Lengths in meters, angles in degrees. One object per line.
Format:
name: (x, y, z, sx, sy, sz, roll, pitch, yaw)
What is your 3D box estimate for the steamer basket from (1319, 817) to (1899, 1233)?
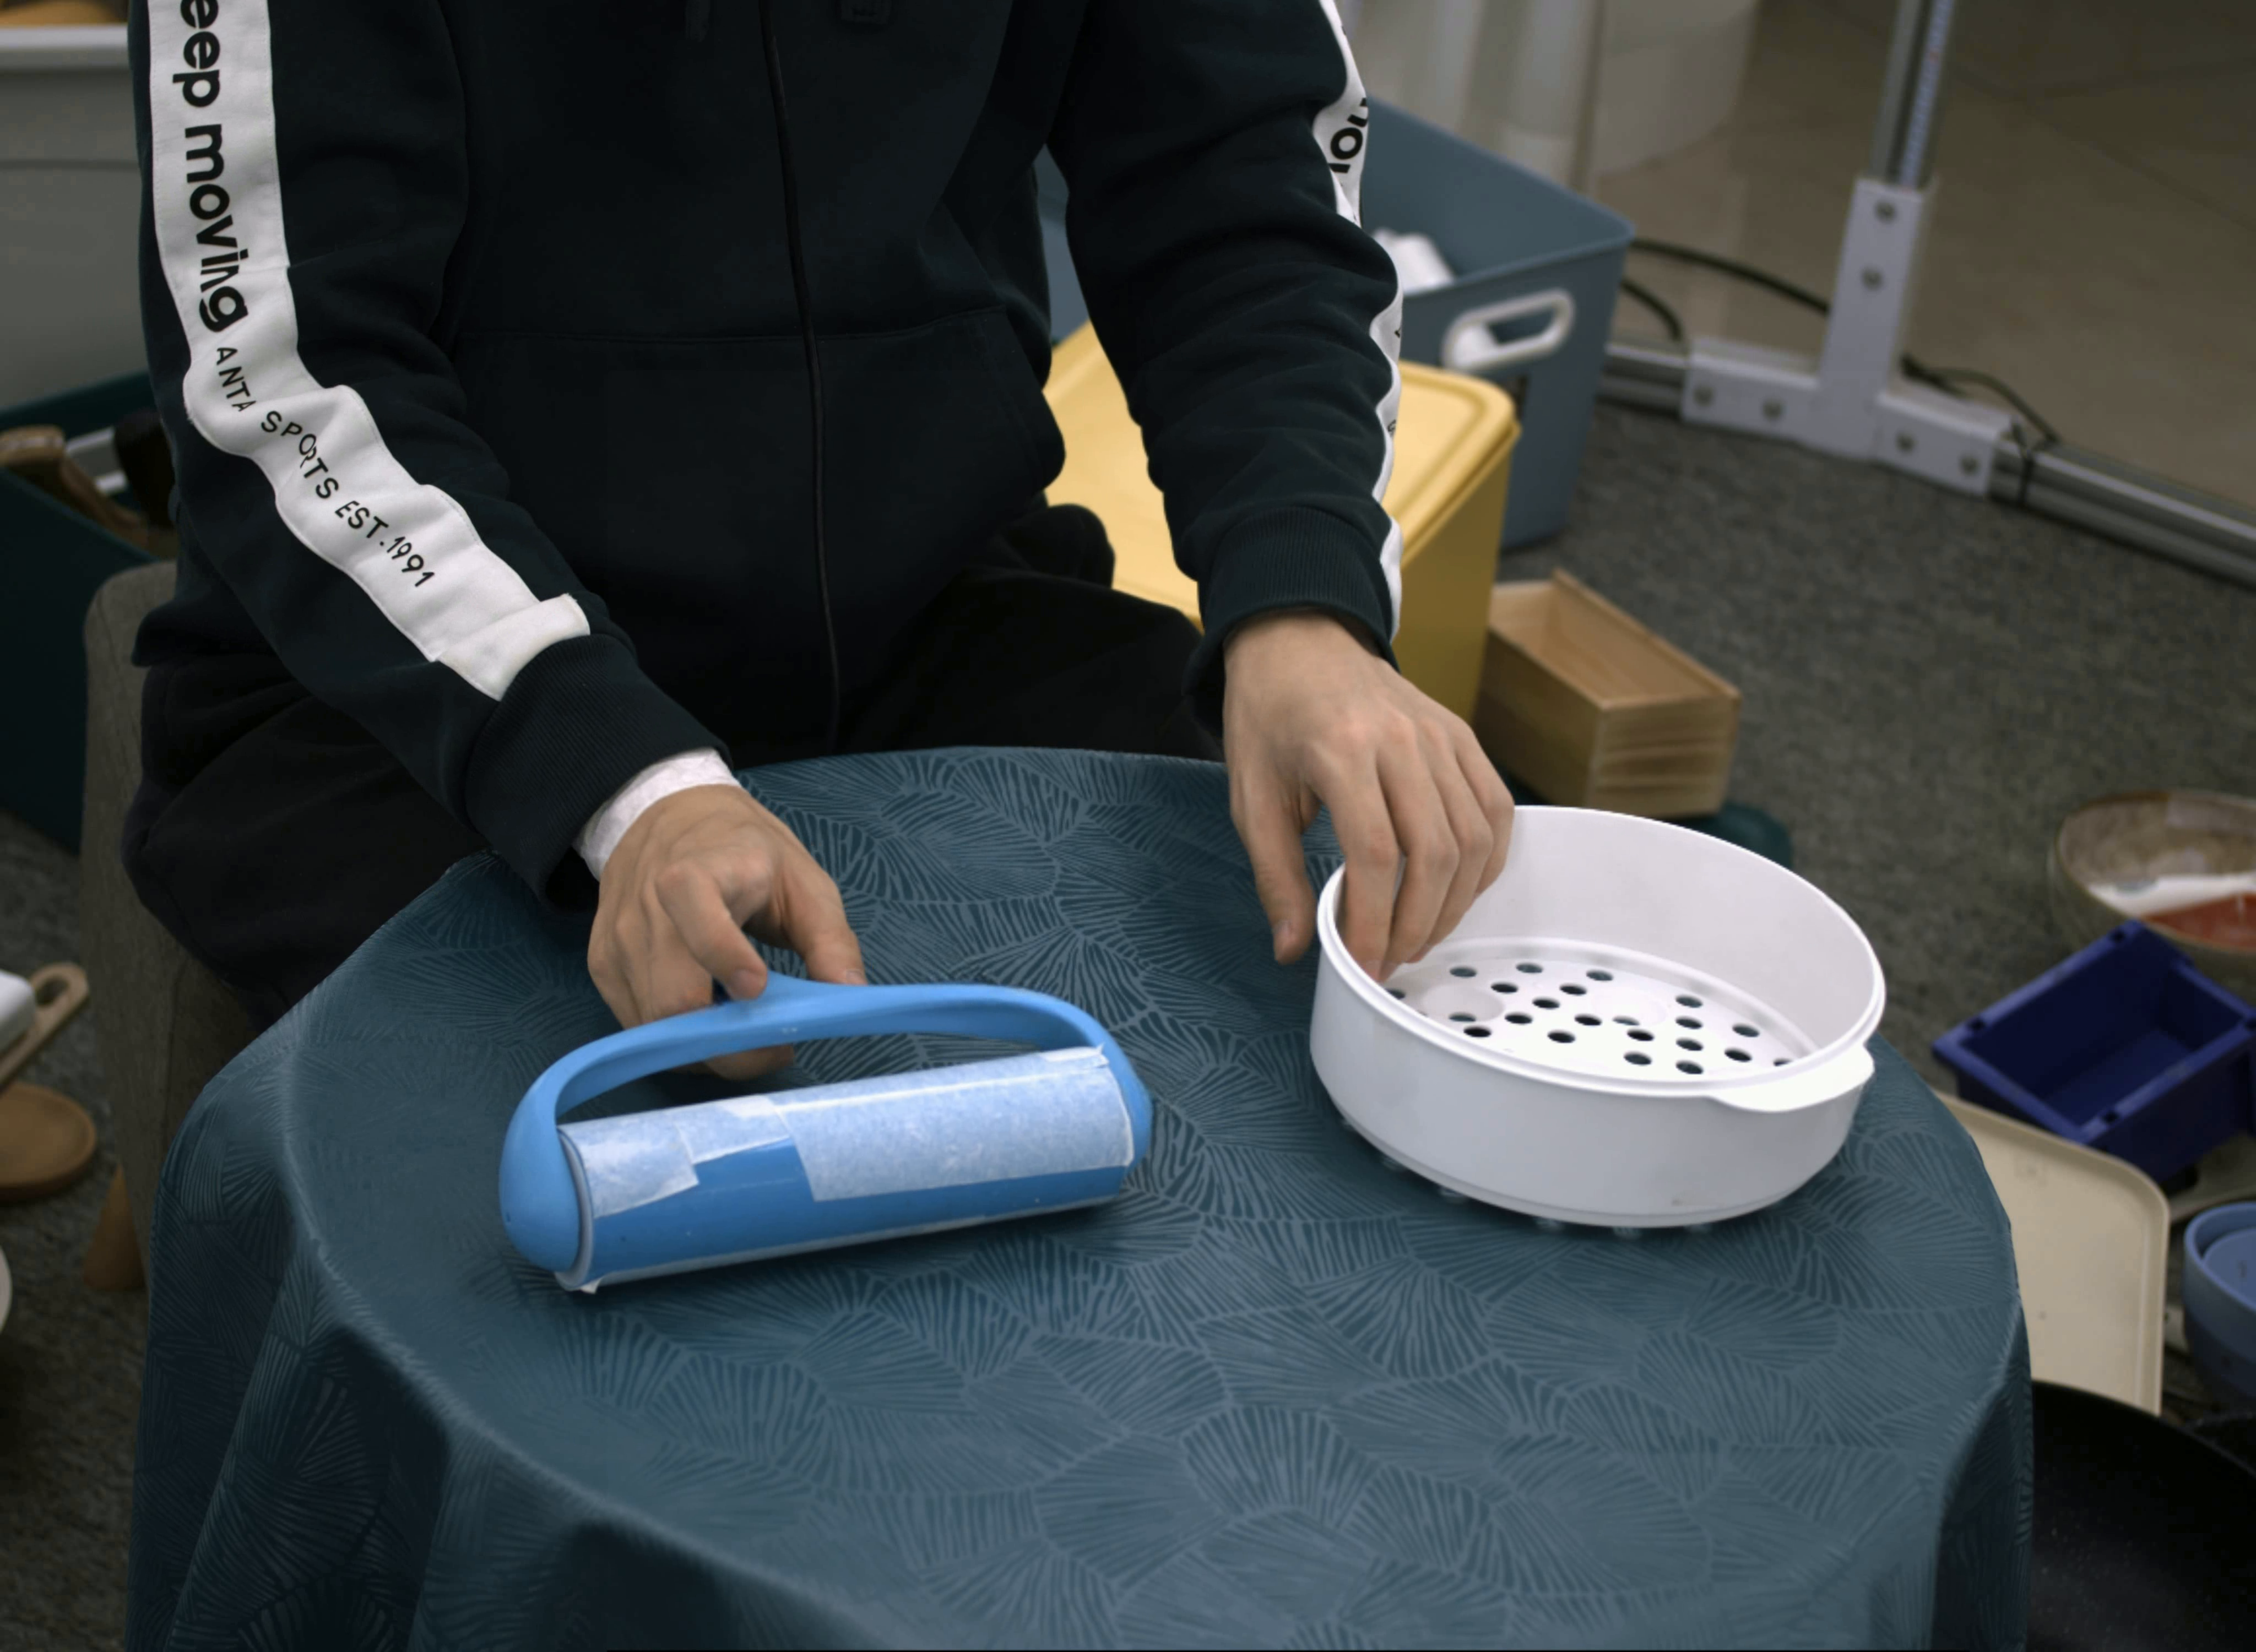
steamer basket: (0.165, 0.070, 1.865, 0.200, 0.069, 0.232, -14, 32, -36)

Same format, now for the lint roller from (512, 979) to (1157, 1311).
lint roller: (-0.123, 0.086, 1.784, 0.227, 0.067, 0.182, -12, 33, -28)
